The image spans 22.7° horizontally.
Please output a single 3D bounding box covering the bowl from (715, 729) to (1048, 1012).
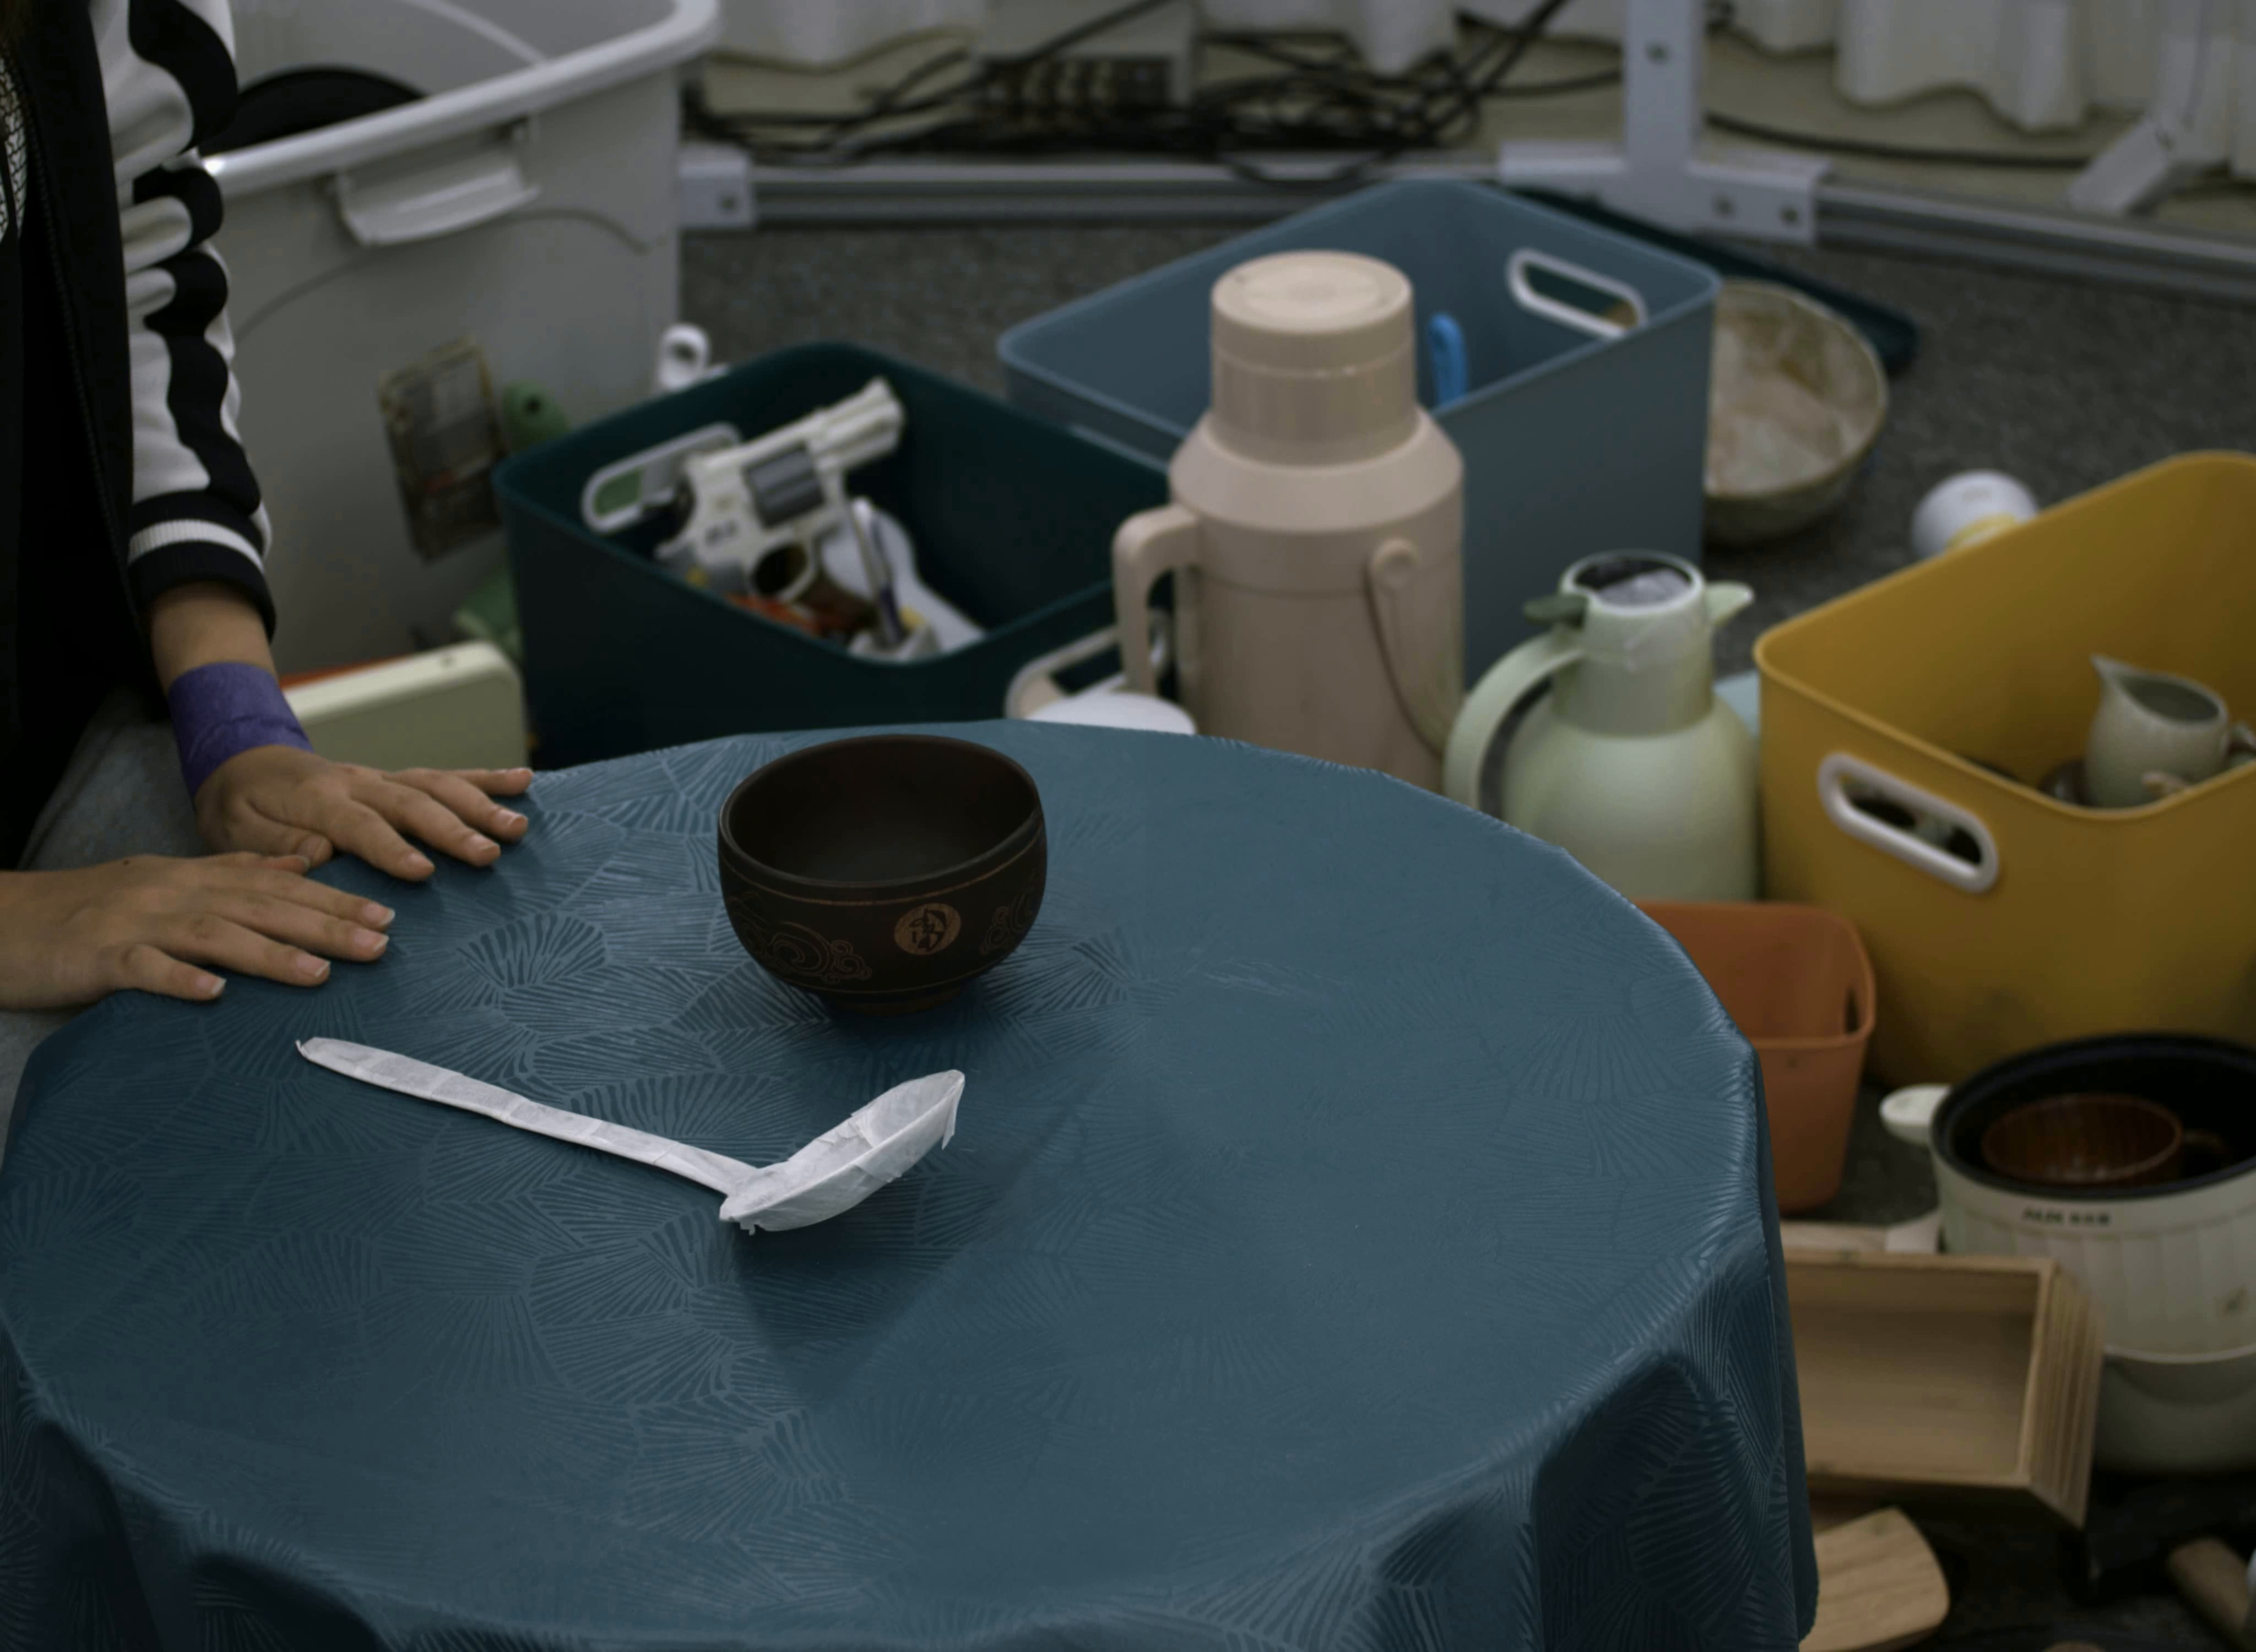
[{"bbox_3d":[-0.086,0.022,1.983,0.117,0.069,0.120,-2,27,1],"label":"bowl"}]

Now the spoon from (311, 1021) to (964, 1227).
[{"bbox_3d":[-0.172,0.081,1.896,0.276,0.059,0.102,16,30,33],"label":"spoon"}]
